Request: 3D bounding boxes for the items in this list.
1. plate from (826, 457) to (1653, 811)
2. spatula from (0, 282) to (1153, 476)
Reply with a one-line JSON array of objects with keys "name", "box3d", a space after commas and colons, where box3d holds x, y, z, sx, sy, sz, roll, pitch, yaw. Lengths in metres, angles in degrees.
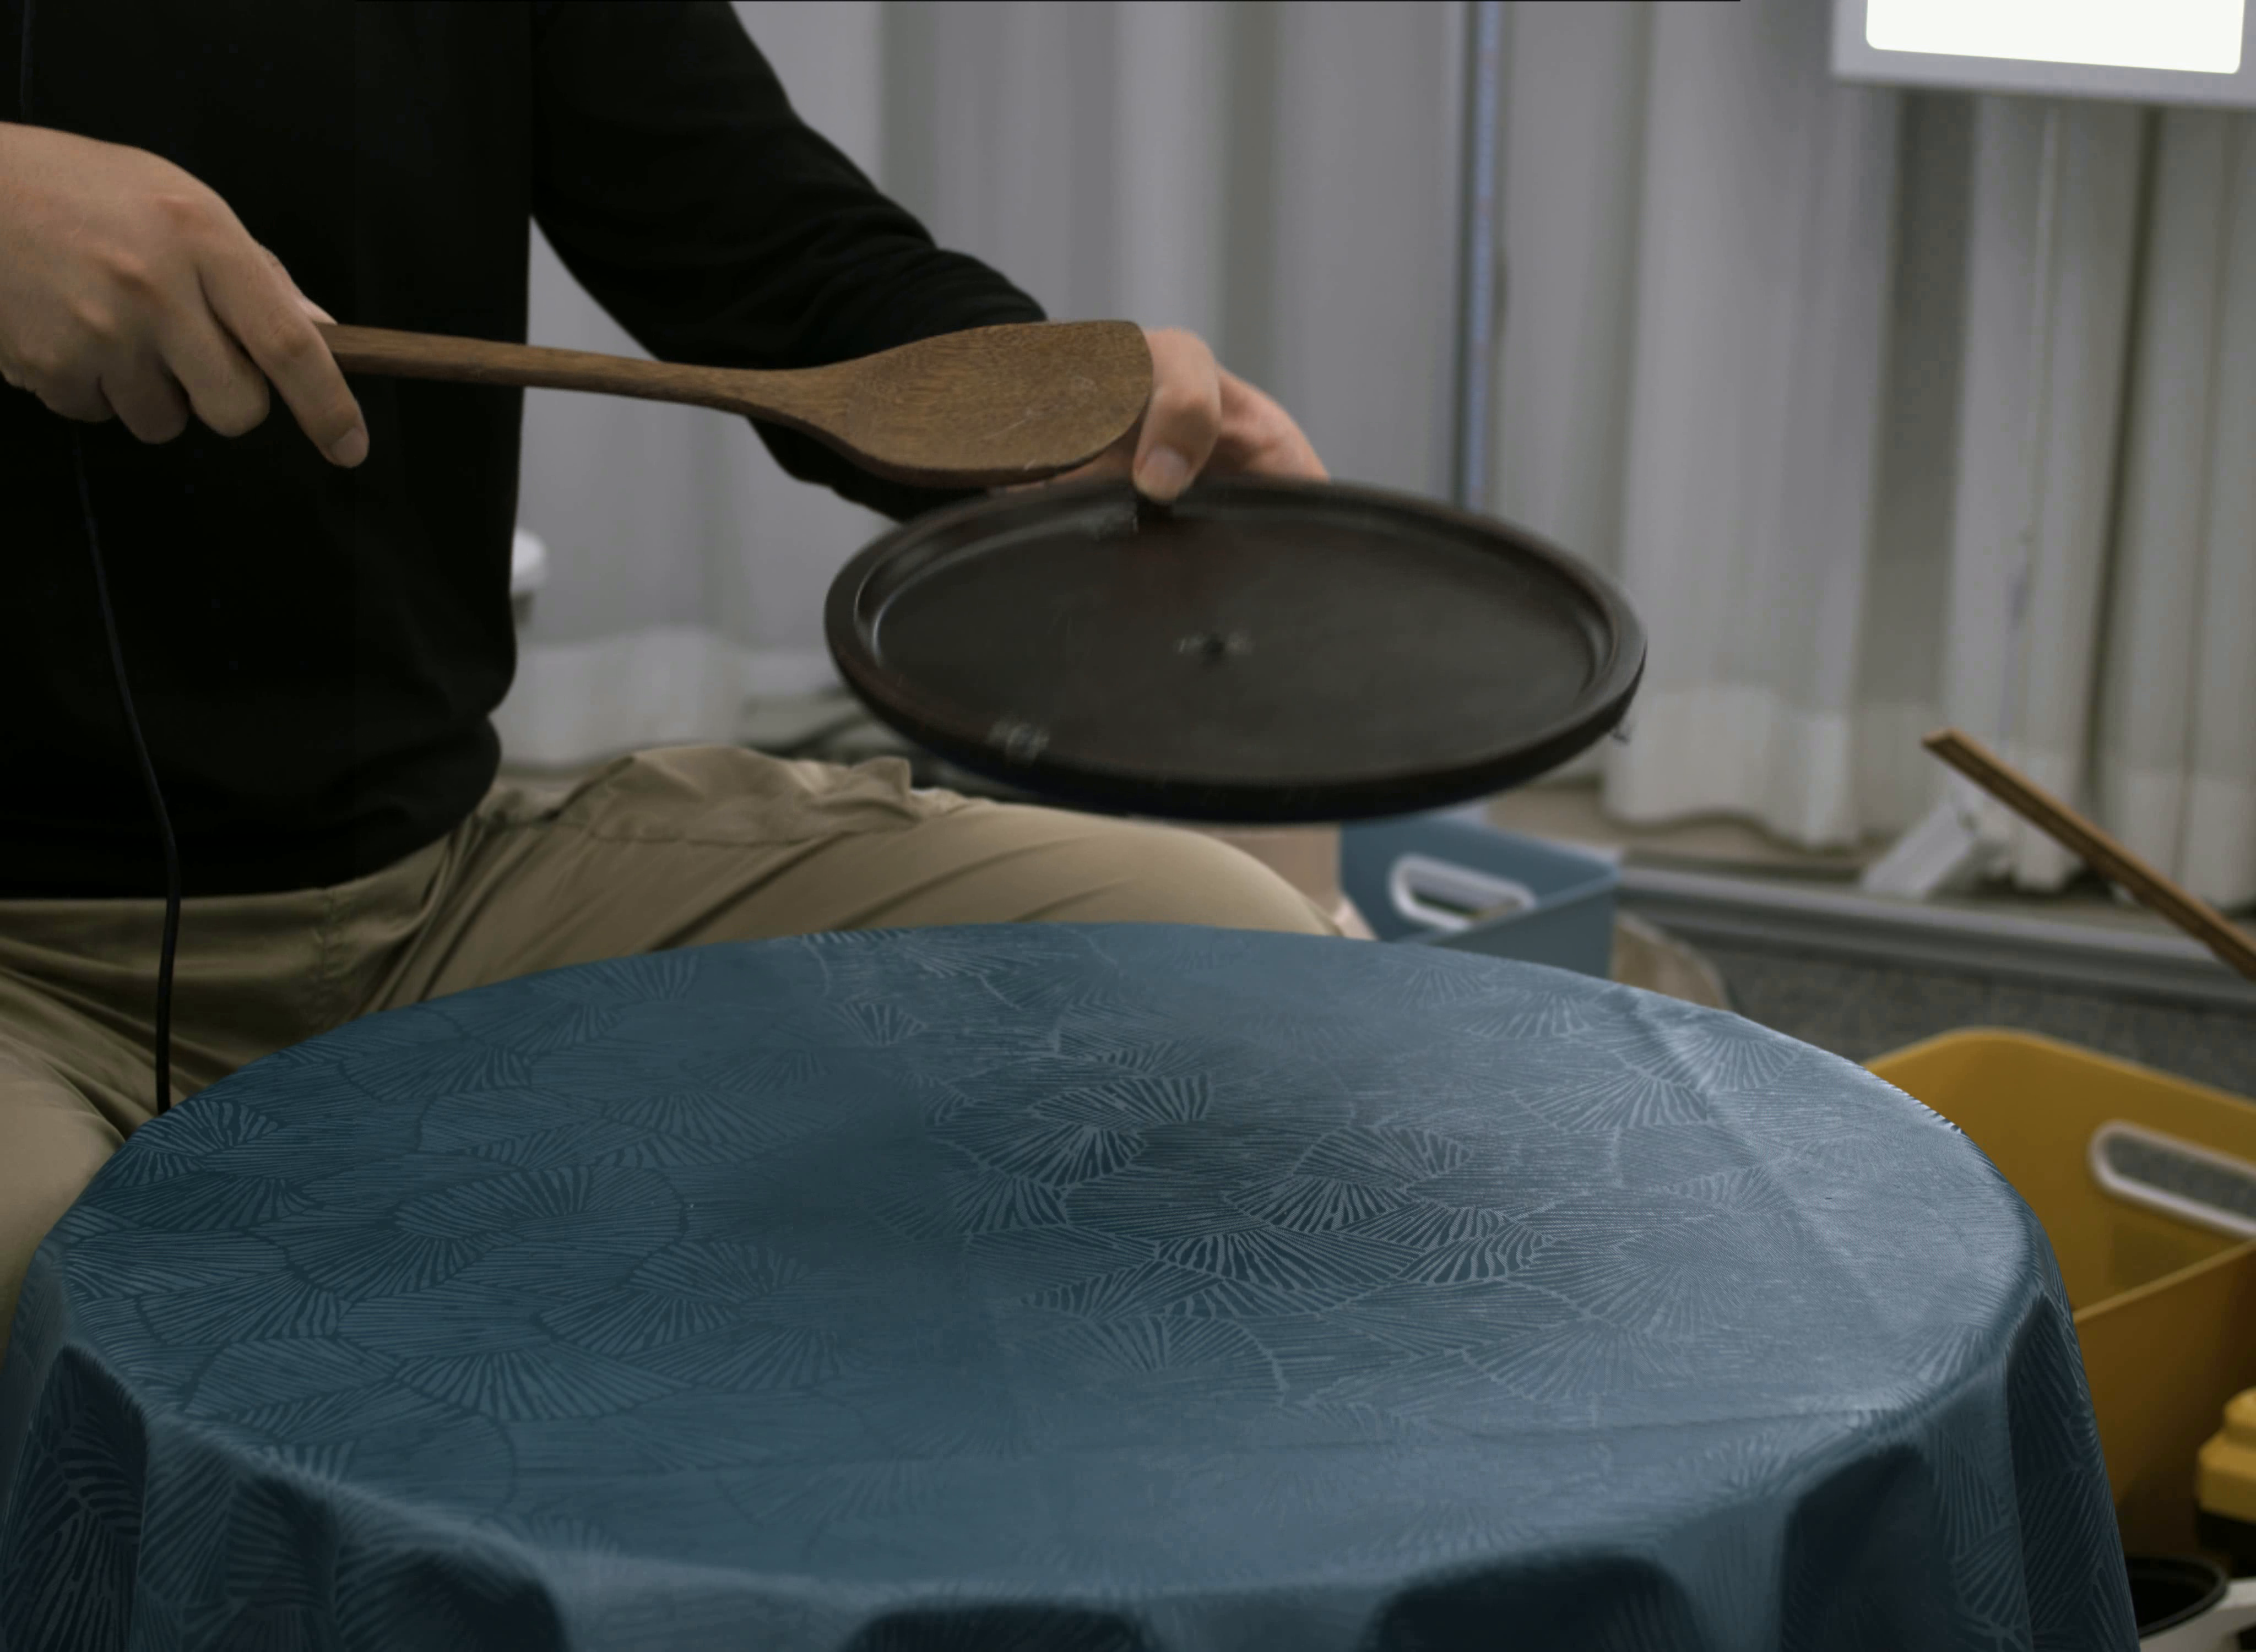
[{"name": "plate", "box3d": [0.034, -0.061, 1.608, 0.254, 0.029, 0.253, 2, 25, 0]}, {"name": "spatula", "box3d": [-0.183, -0.143, 1.603, 0.383, 0.016, 0.095, 6, 34, 9]}]
